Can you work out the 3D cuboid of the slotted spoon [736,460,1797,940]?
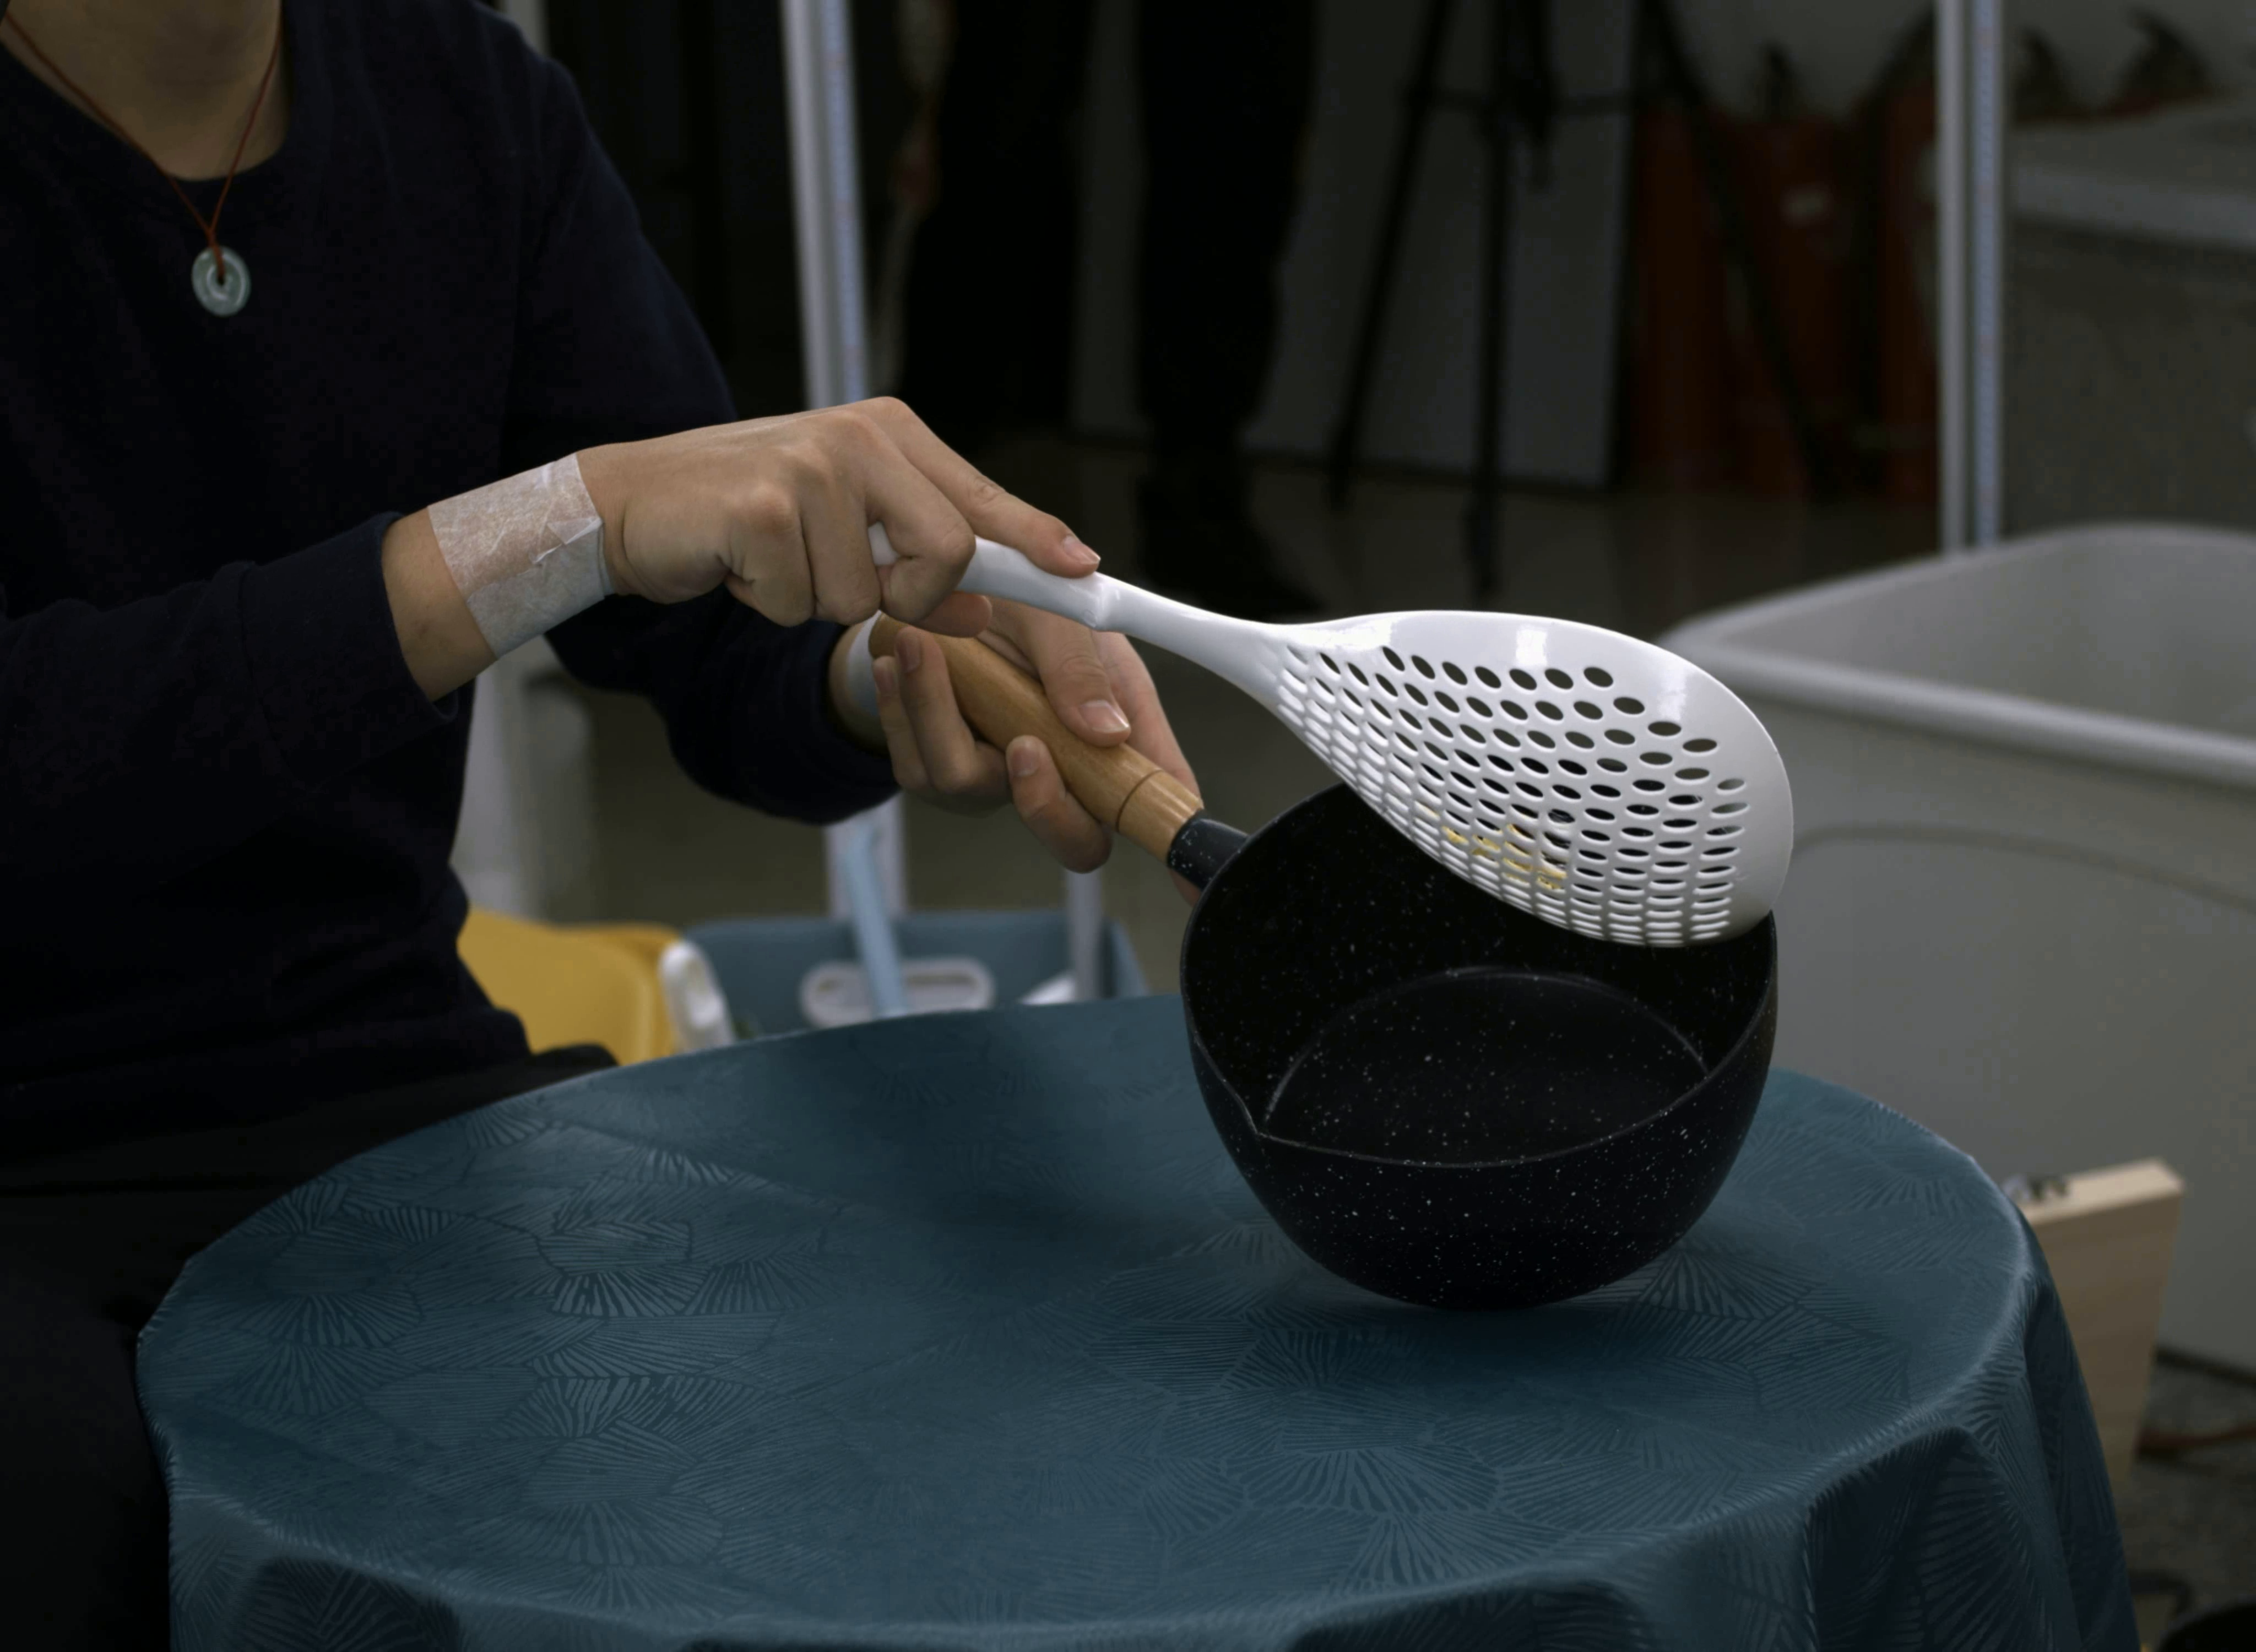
[{"bbox_3d":[0.039,-0.049,1.651,0.348,0.137,0.050,25,53,18],"label":"slotted spoon"}]

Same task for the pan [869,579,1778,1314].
[{"bbox_3d":[0.049,0.029,1.700,0.345,0.108,0.205,27,54,33],"label":"pan"}]
